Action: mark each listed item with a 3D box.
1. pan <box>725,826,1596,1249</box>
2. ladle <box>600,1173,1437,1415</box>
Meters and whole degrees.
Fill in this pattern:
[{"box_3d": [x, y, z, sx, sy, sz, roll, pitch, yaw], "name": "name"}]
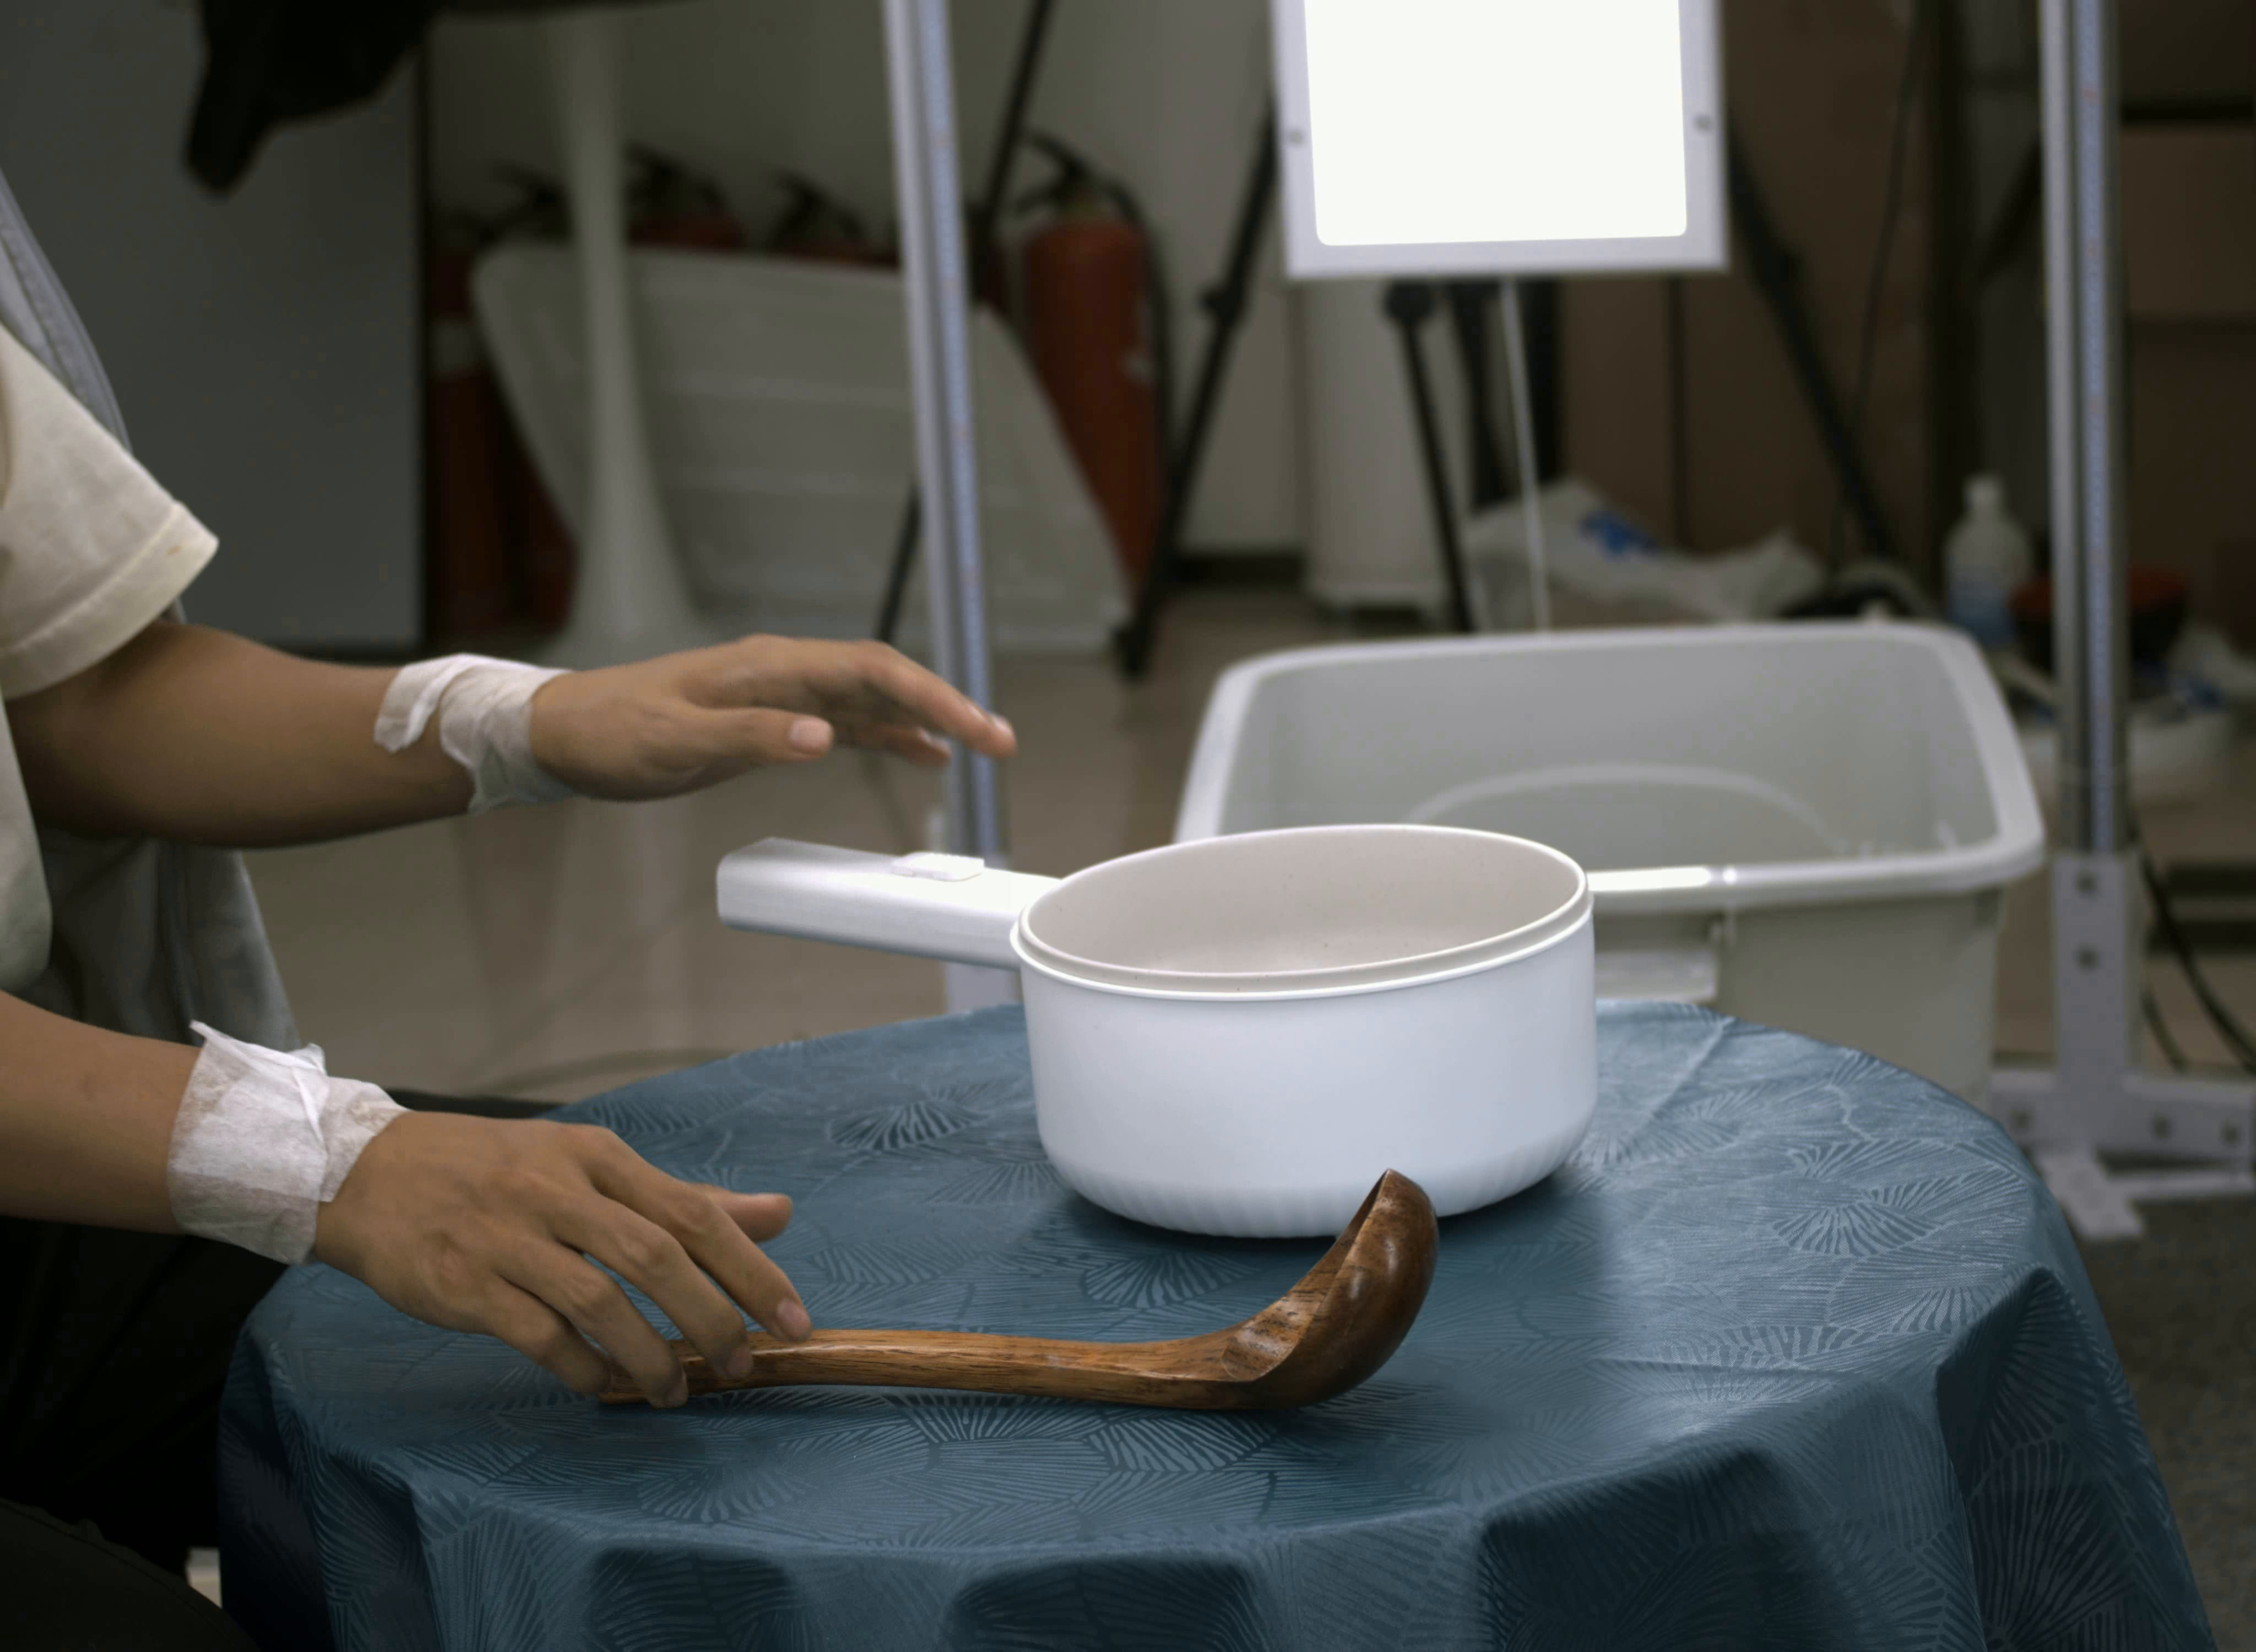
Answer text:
[{"box_3d": [0.002, 0.068, 1.932, 0.362, 0.102, 0.196, 5, 18, 40], "name": "pan"}, {"box_3d": [-0.038, 0.140, 1.688, 0.277, 0.077, 0.080, 1, 17, 20], "name": "ladle"}]
